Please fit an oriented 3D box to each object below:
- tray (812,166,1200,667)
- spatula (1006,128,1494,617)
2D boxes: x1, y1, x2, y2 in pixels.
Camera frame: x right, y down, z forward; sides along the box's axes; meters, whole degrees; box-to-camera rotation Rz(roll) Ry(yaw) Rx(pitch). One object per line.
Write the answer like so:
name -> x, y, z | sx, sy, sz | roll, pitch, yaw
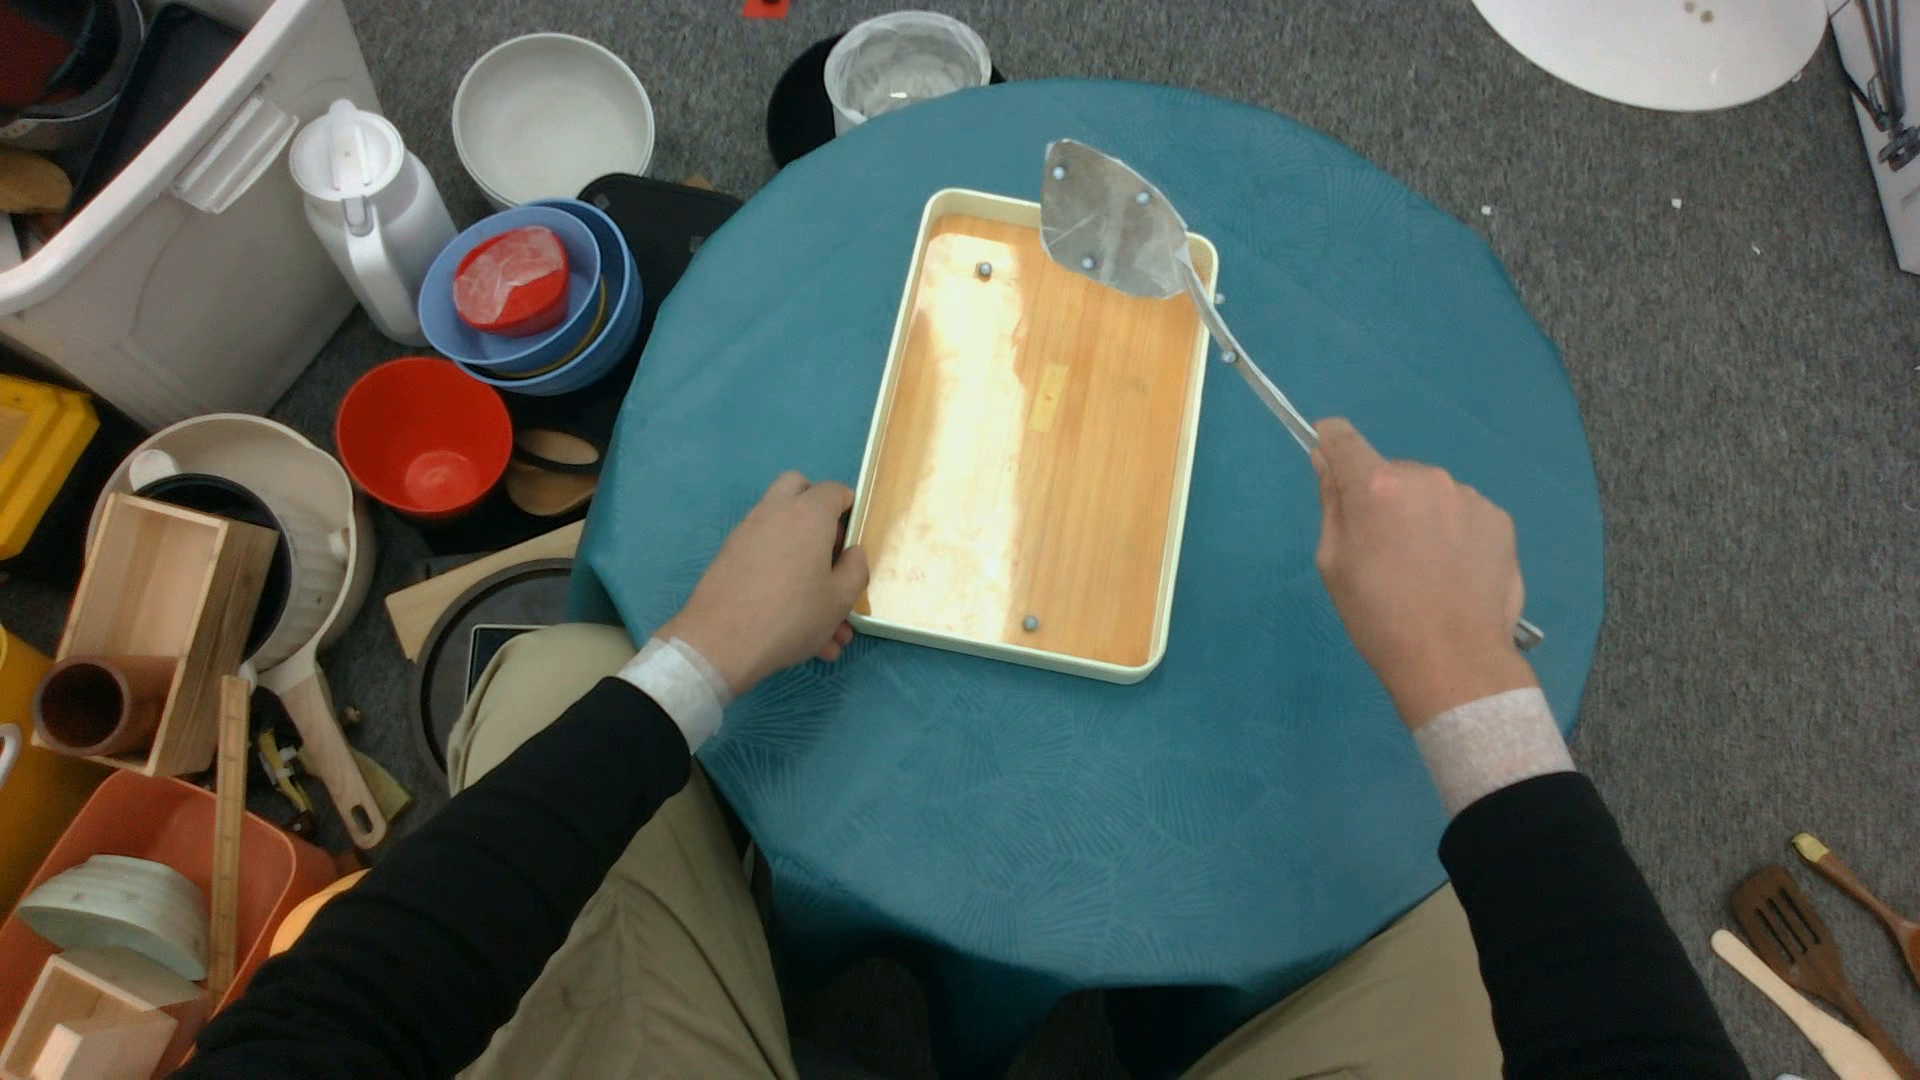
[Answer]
tray -> 0.034, -0.082, 0.828 | 0.191, 0.027, 0.301 | 11, 68, 0
spatula -> 0.143, -0.090, 0.730 | 0.045, 0.098, 0.365 | -28, 63, -17
